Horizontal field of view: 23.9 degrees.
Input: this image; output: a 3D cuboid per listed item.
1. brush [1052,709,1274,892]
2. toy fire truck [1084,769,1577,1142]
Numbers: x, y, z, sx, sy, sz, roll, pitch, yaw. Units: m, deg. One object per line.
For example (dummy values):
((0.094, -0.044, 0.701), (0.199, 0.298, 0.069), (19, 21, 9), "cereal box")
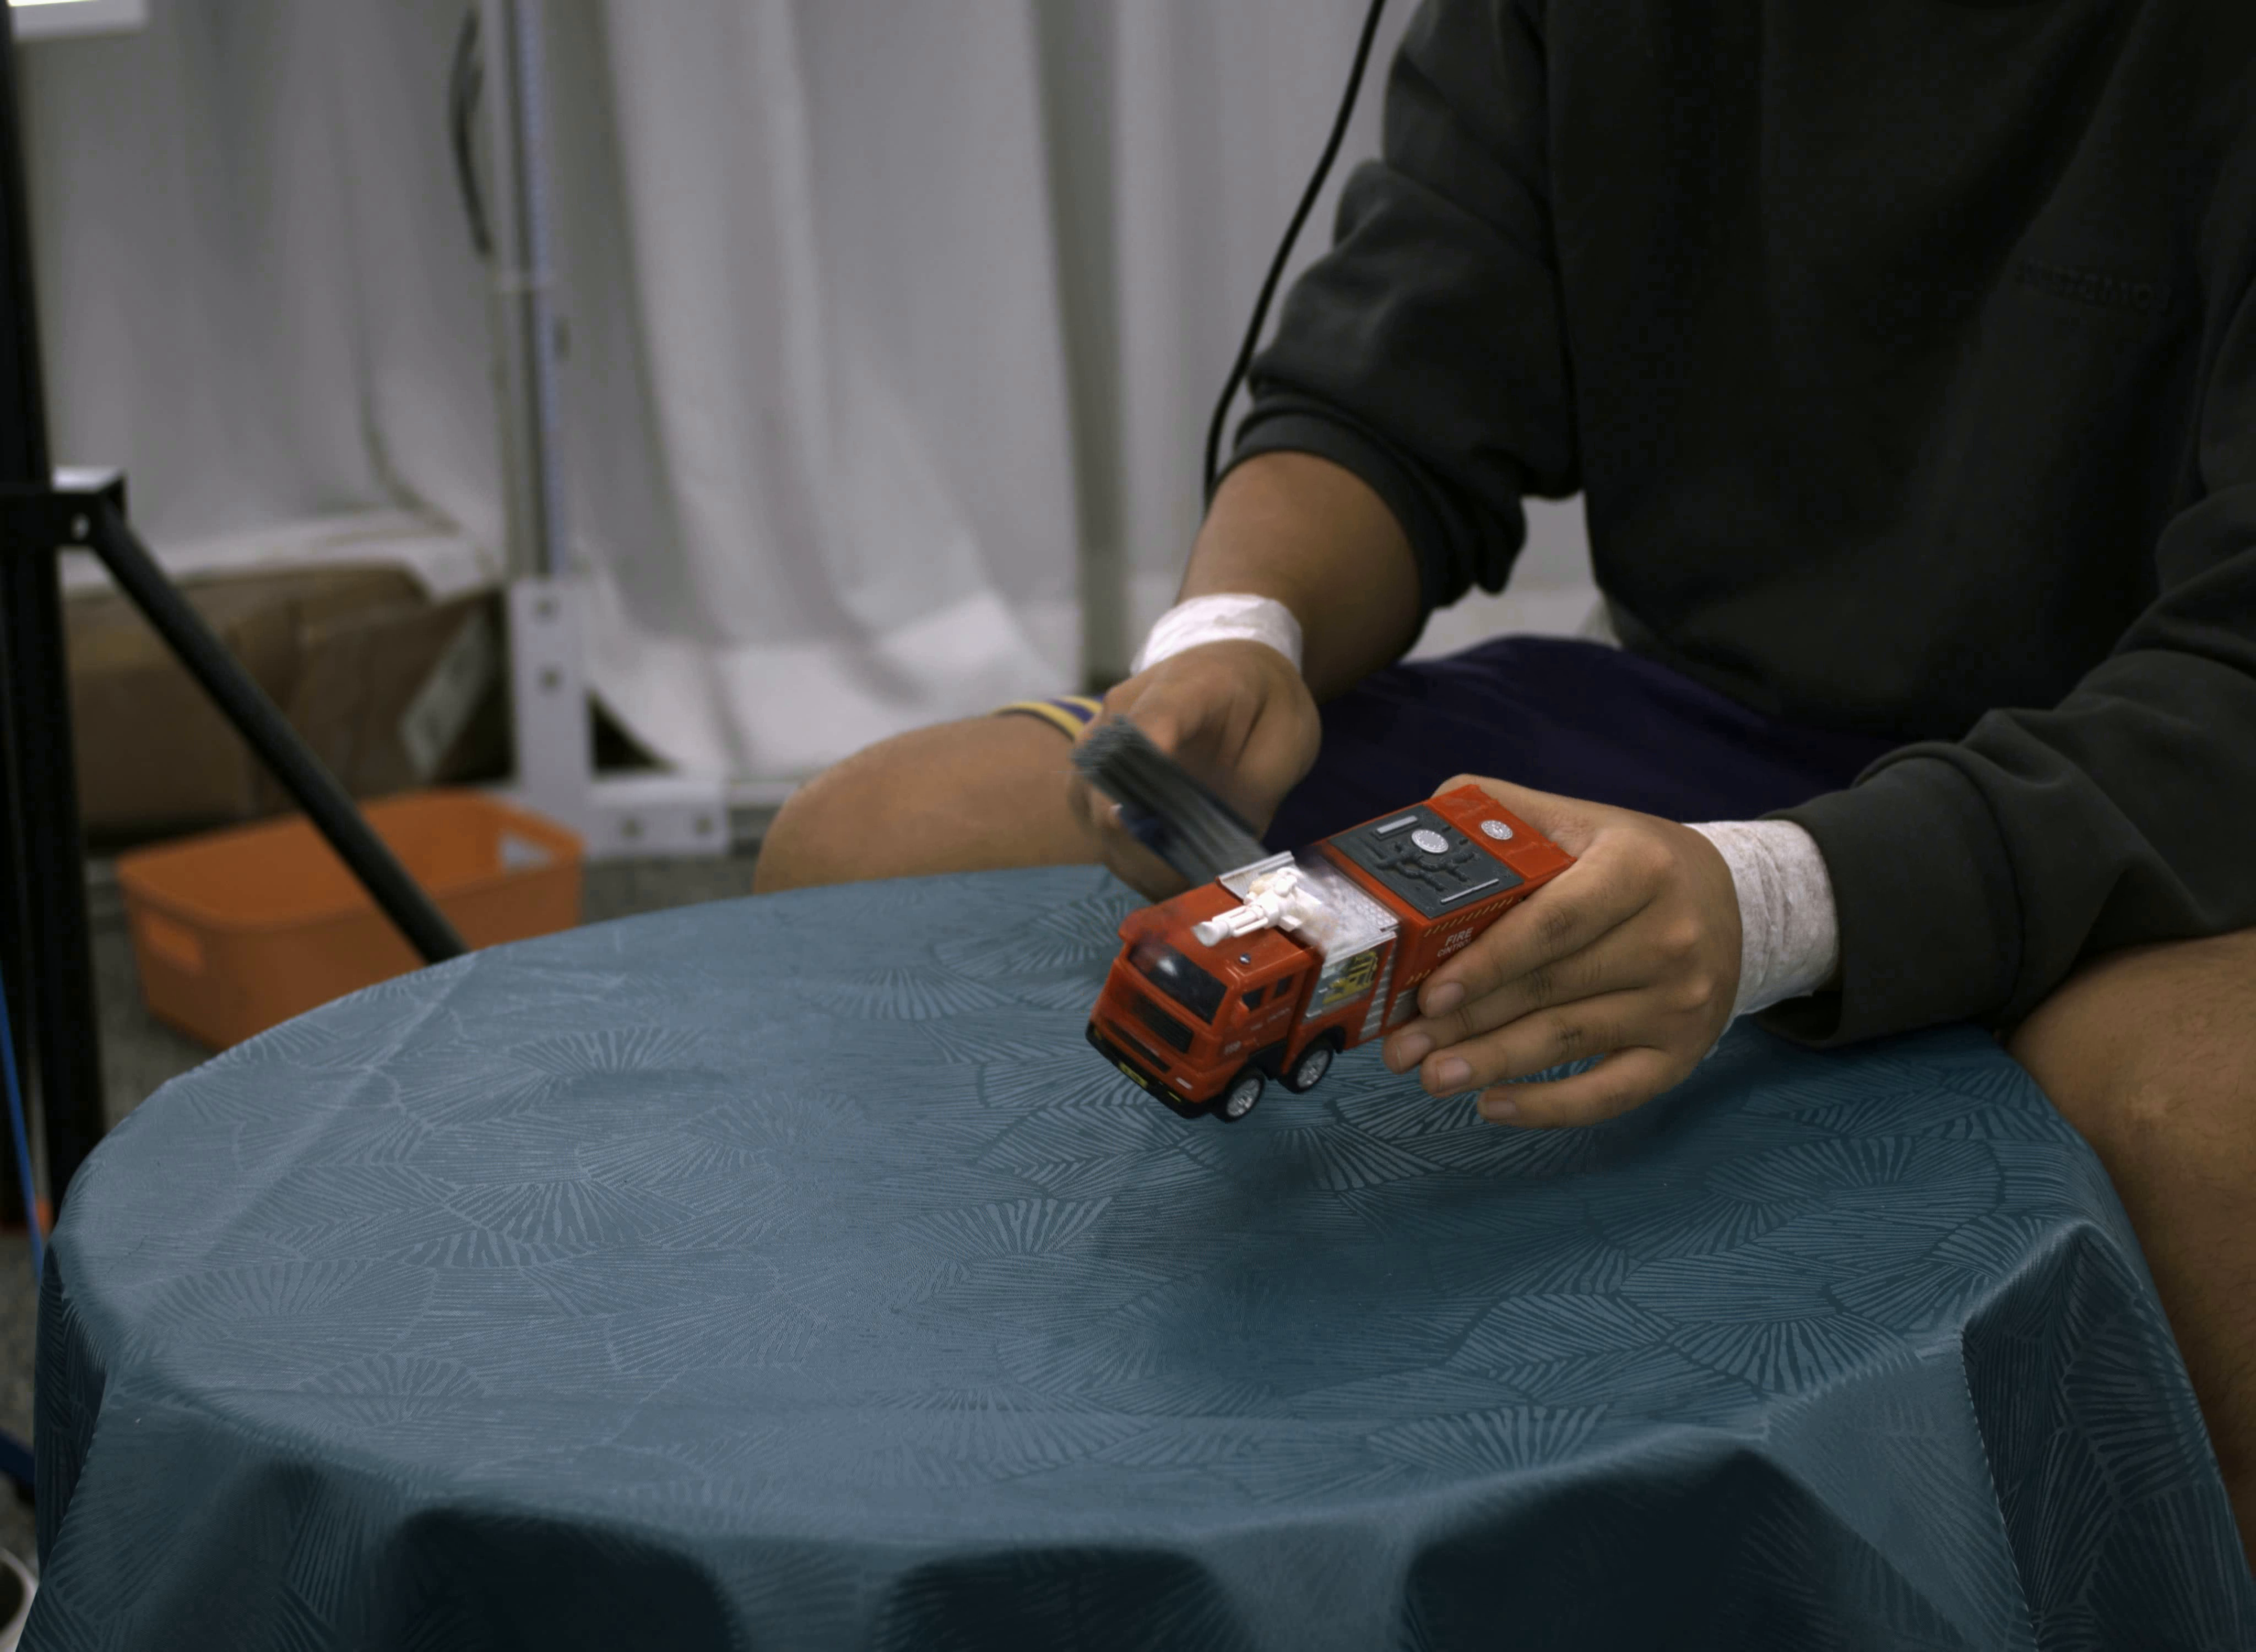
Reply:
((0.016, -0.011, 1.677), (0.095, 0.033, 0.274), (41, 3, -5), "brush")
((0.060, 0.034, 1.512), (0.055, 0.070, 0.164), (39, 36, 28), "toy fire truck")
